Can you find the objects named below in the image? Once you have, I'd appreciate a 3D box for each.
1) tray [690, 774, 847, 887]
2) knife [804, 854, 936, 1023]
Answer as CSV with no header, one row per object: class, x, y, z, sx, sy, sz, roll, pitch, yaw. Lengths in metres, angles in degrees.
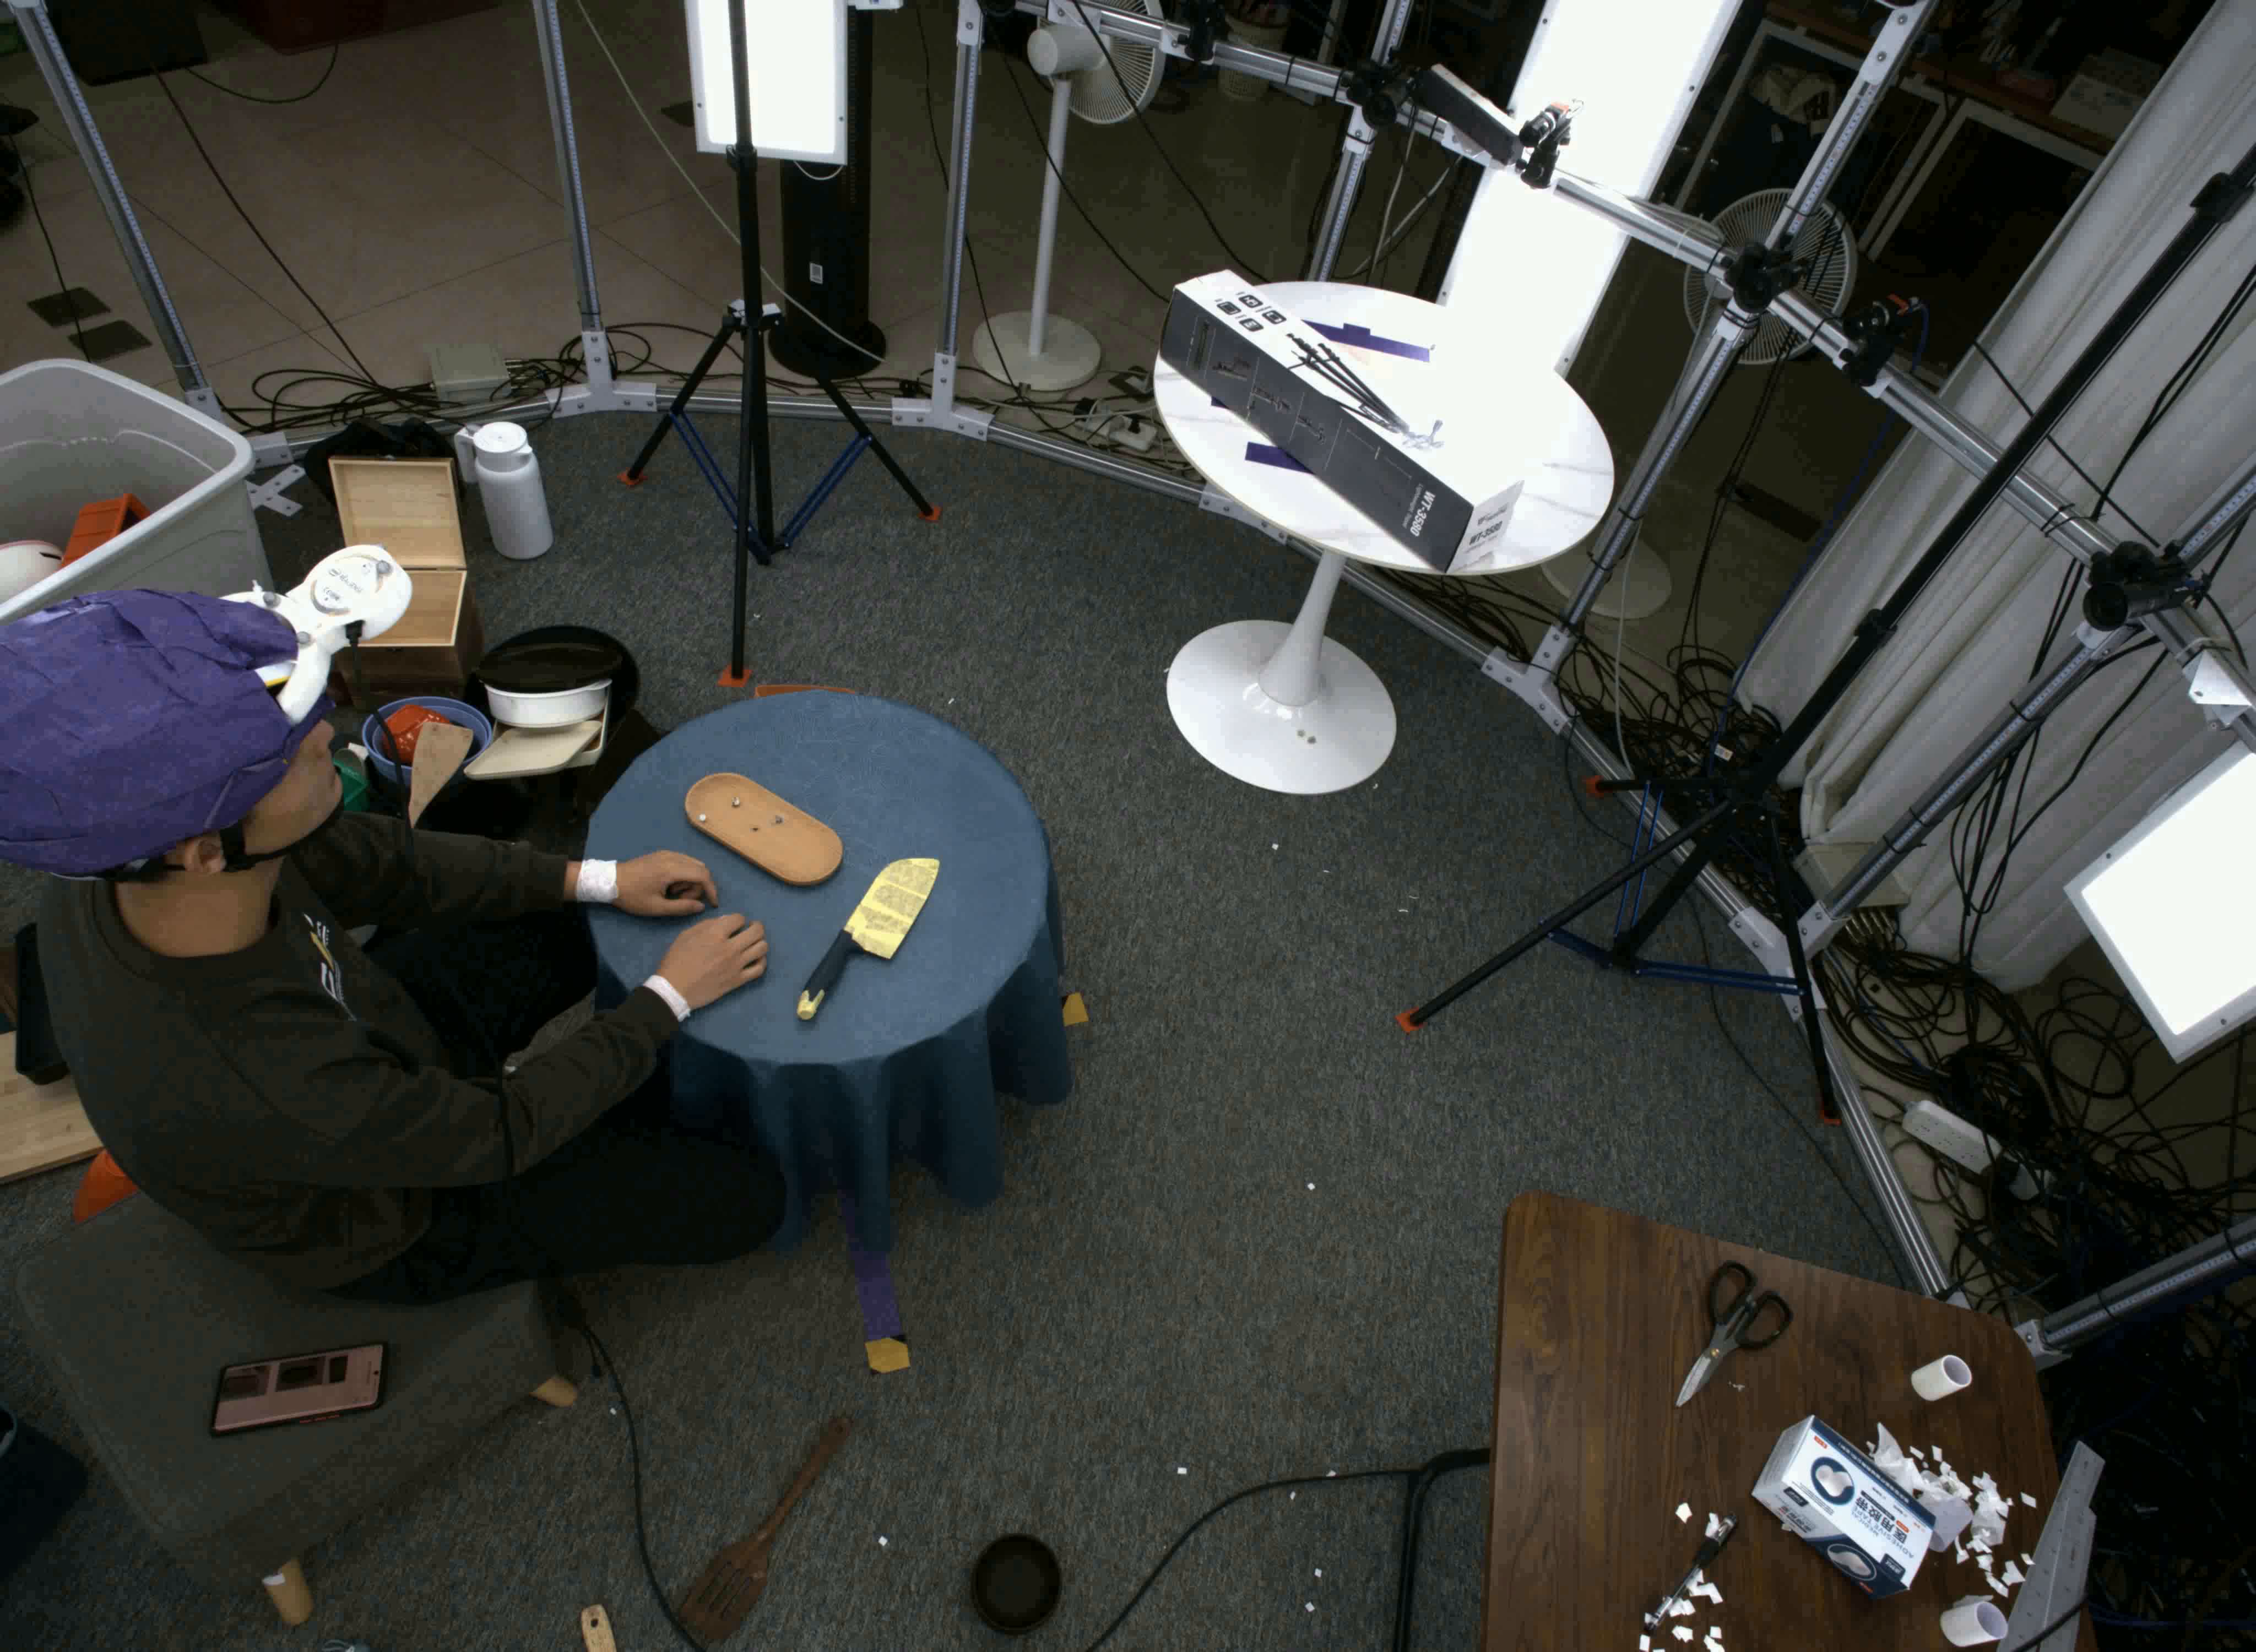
tray,-0.475,0.004,1.708,0.228,0.021,0.101,30,54,7
knife,-0.324,0.136,1.650,0.080,0.028,0.287,24,51,6
